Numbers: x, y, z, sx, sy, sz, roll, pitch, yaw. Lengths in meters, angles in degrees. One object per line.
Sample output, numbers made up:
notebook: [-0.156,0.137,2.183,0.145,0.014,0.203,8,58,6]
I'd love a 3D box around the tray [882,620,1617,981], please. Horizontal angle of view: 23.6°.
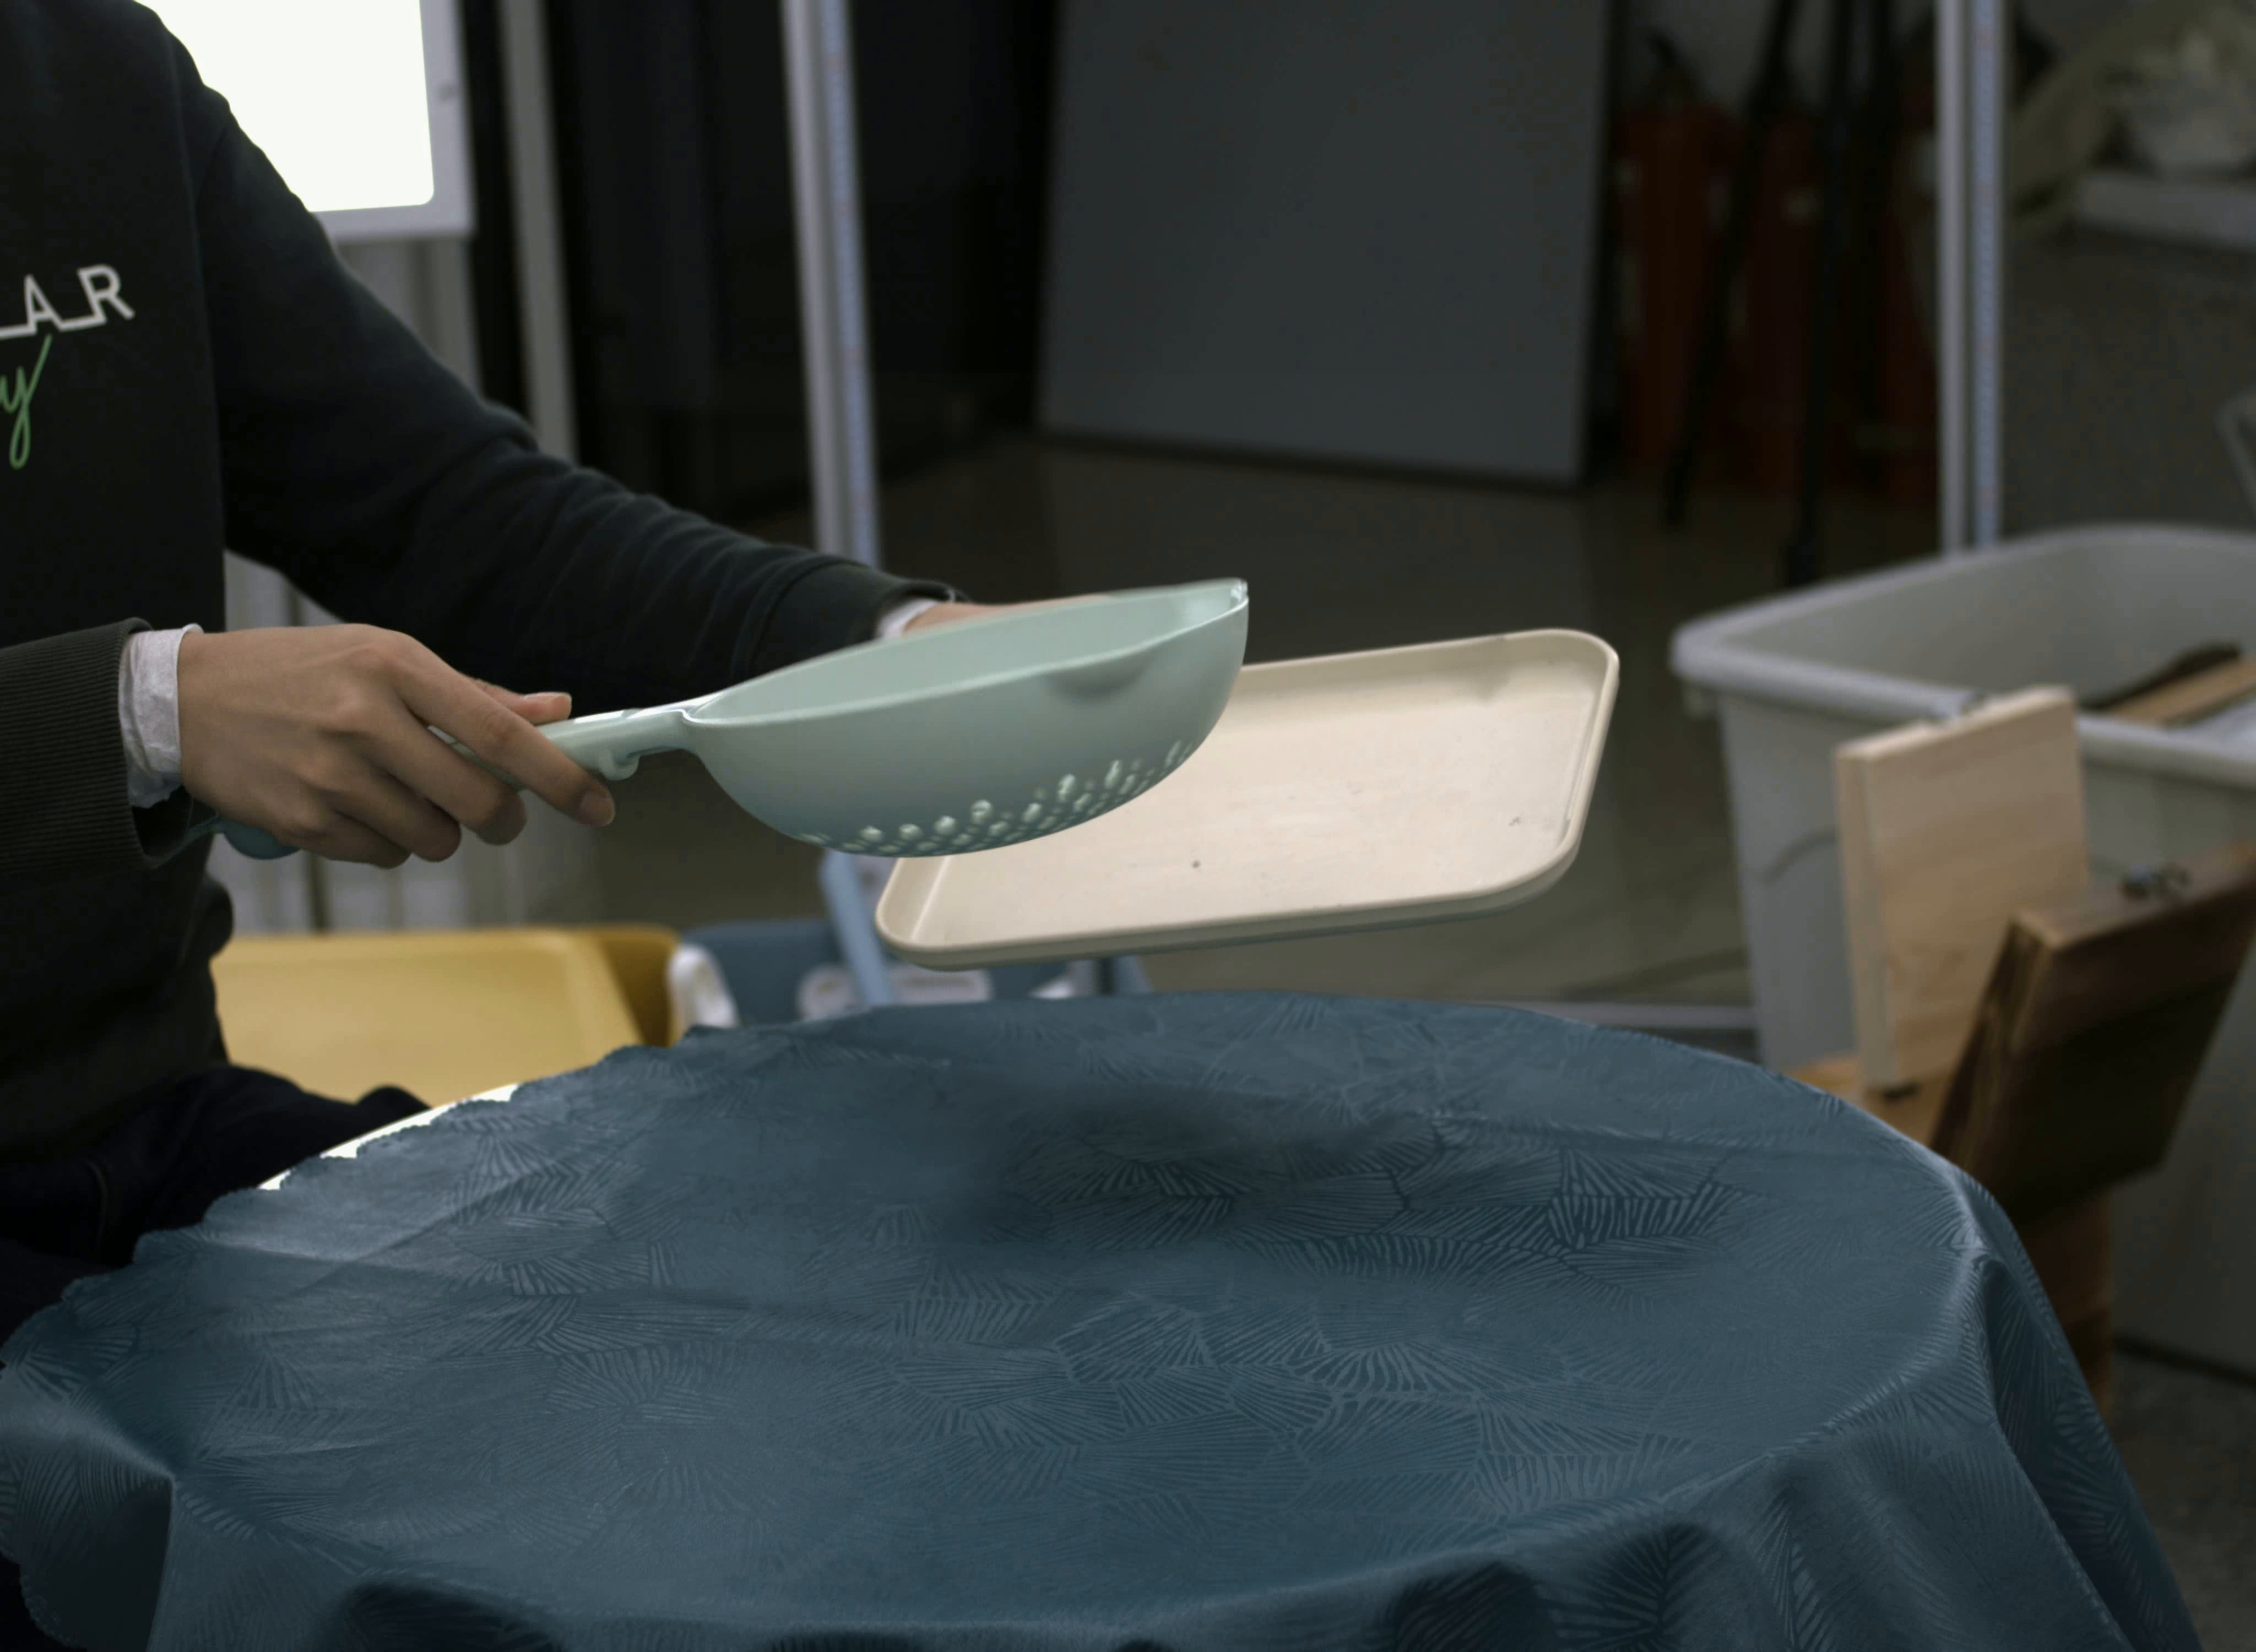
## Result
tray: [0.043,-0.007,1.783,0.239,0.017,0.171,-8,29,18]

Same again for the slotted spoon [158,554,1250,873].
slotted spoon: [-0.134,-0.027,1.617,0.358,0.076,0.168,-2,12,19]
